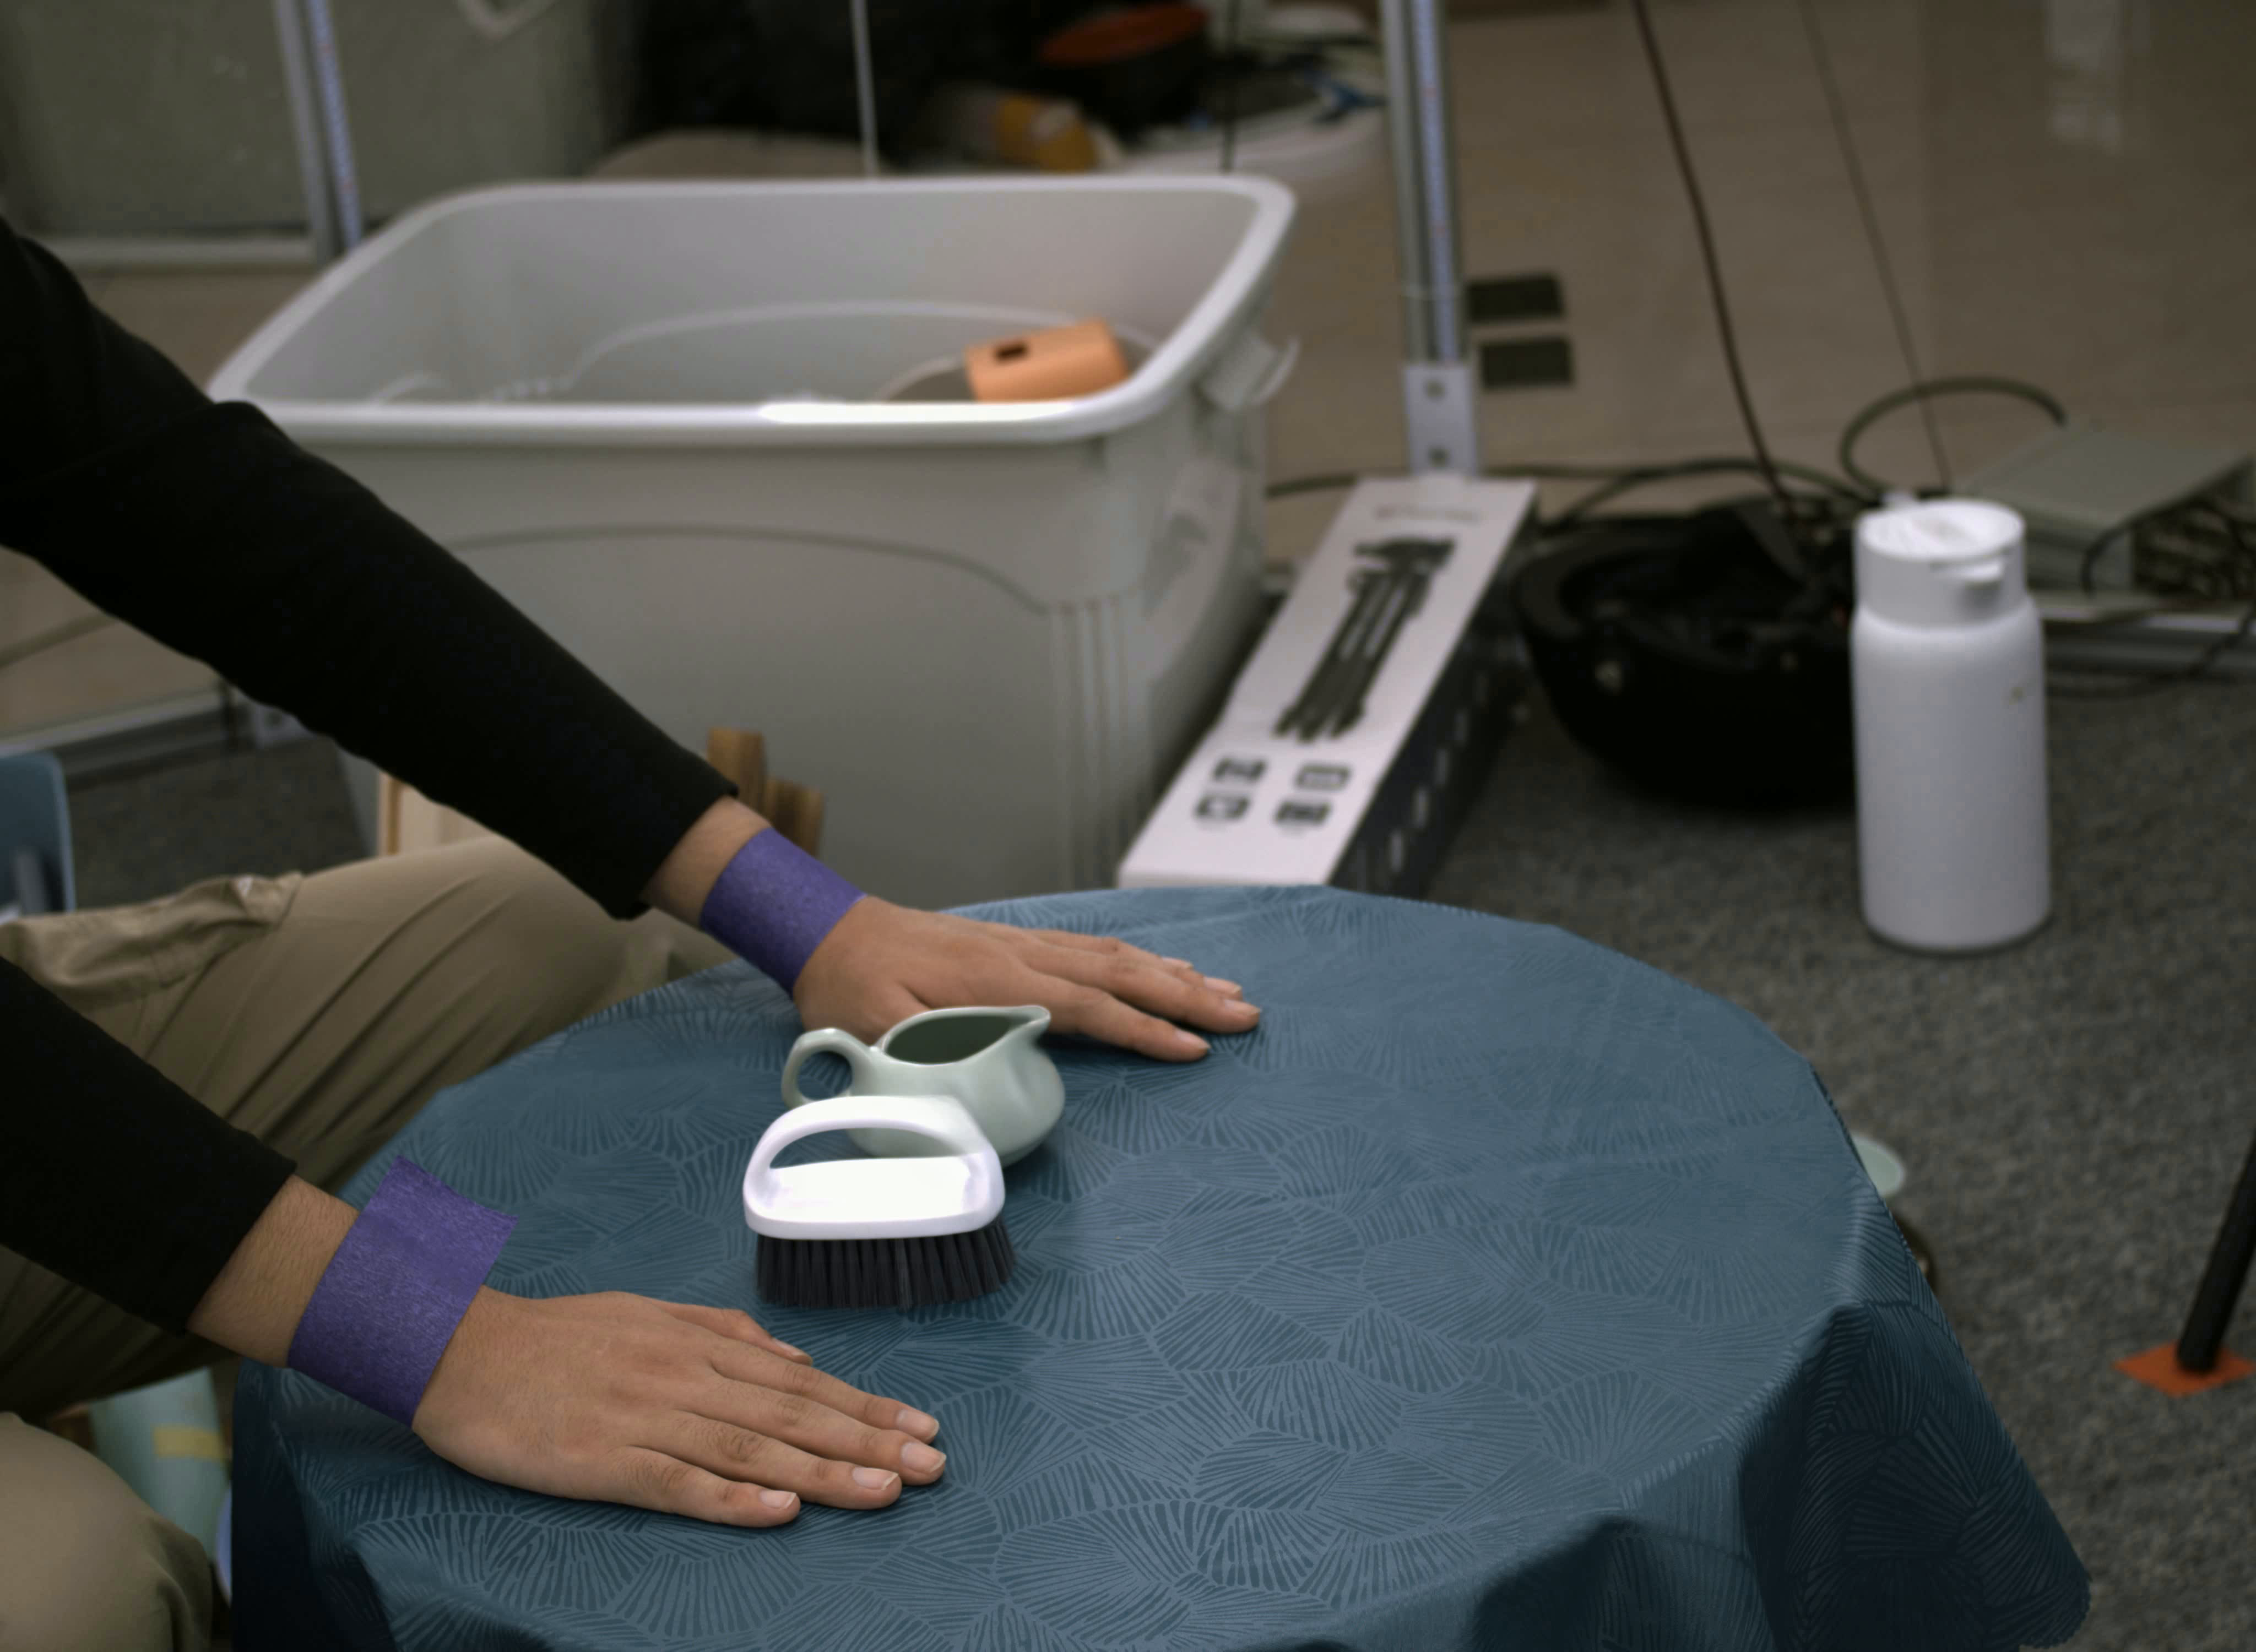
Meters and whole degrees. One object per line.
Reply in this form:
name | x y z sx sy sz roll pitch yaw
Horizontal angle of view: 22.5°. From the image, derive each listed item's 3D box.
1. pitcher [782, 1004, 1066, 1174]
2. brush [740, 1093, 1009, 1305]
pitcher | -0.078 0.103 2.177 0.108 0.061 0.085 -10 25 -2
brush | -0.095 0.133 2.092 0.099 0.073 0.049 0 25 11
